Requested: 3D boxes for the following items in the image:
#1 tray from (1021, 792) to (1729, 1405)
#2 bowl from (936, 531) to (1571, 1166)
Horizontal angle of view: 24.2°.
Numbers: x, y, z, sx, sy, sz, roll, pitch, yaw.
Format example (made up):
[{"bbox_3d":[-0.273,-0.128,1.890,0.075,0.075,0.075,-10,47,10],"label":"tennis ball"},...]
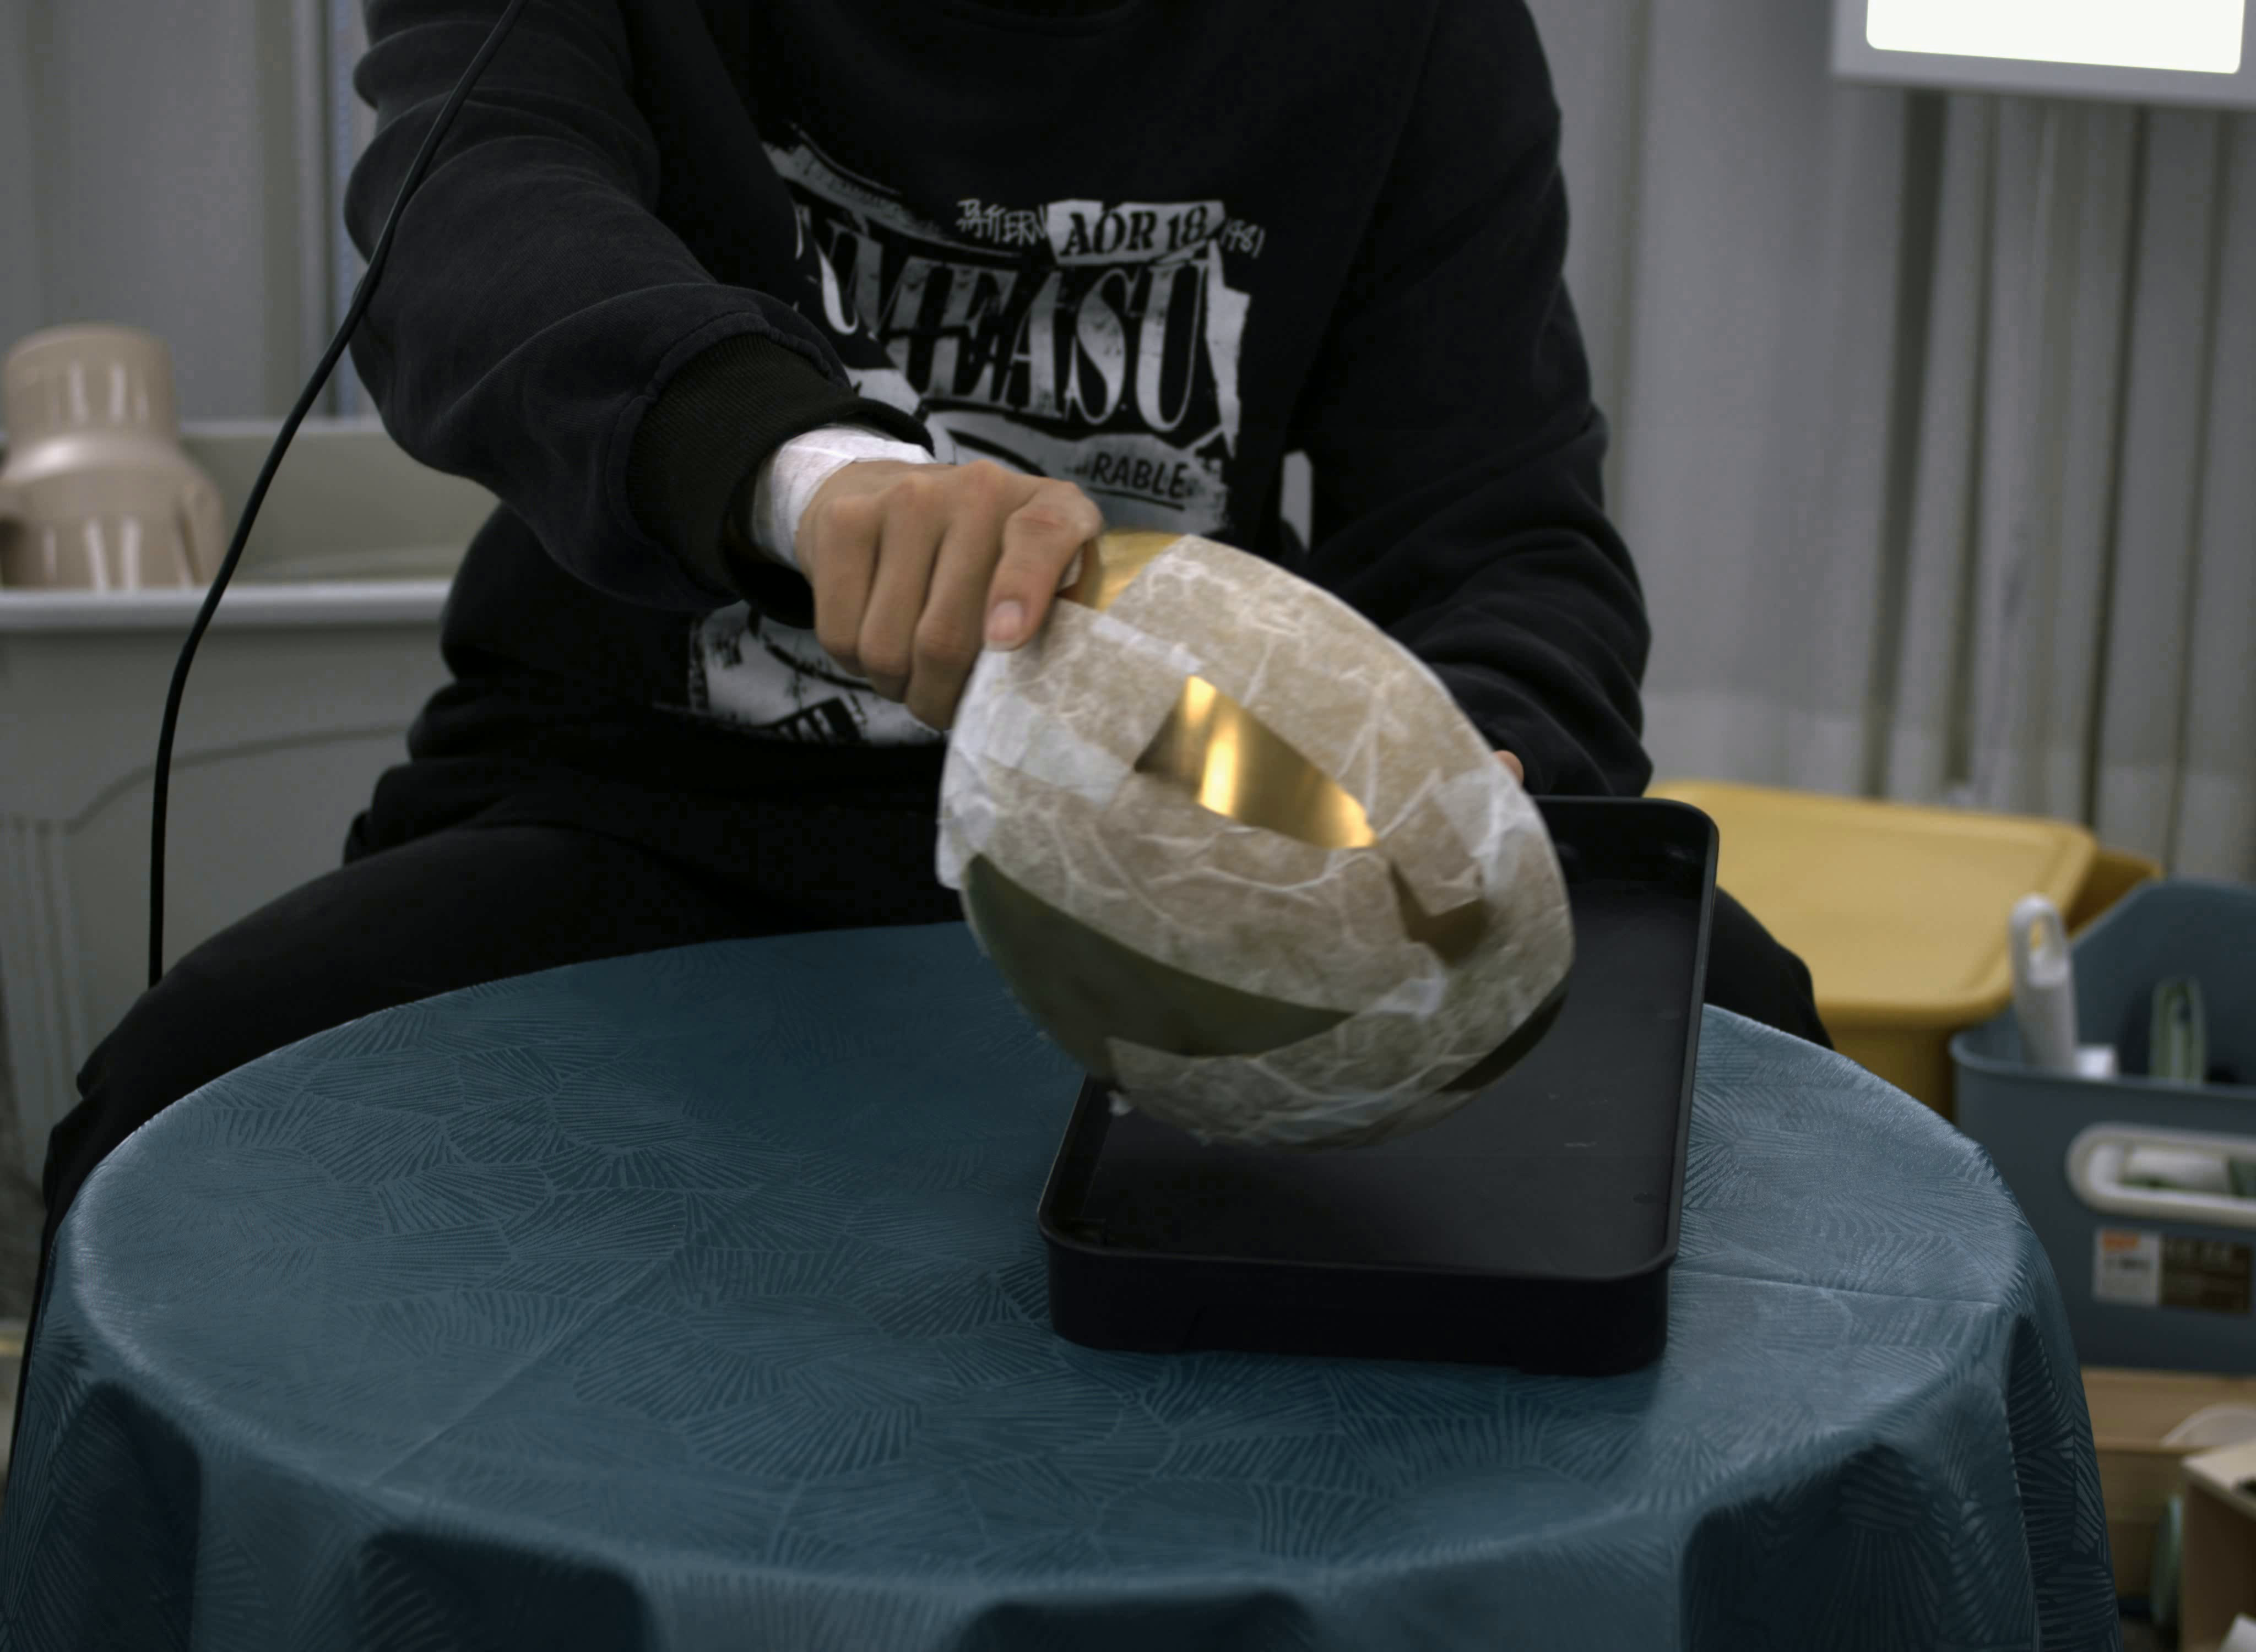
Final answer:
[{"bbox_3d":[0.083,0.074,1.619,0.183,0.037,0.316,4,28,9],"label":"tray"},{"bbox_3d":[0.018,0.026,1.499,0.212,0.218,0.094,15,48,39],"label":"bowl"}]
